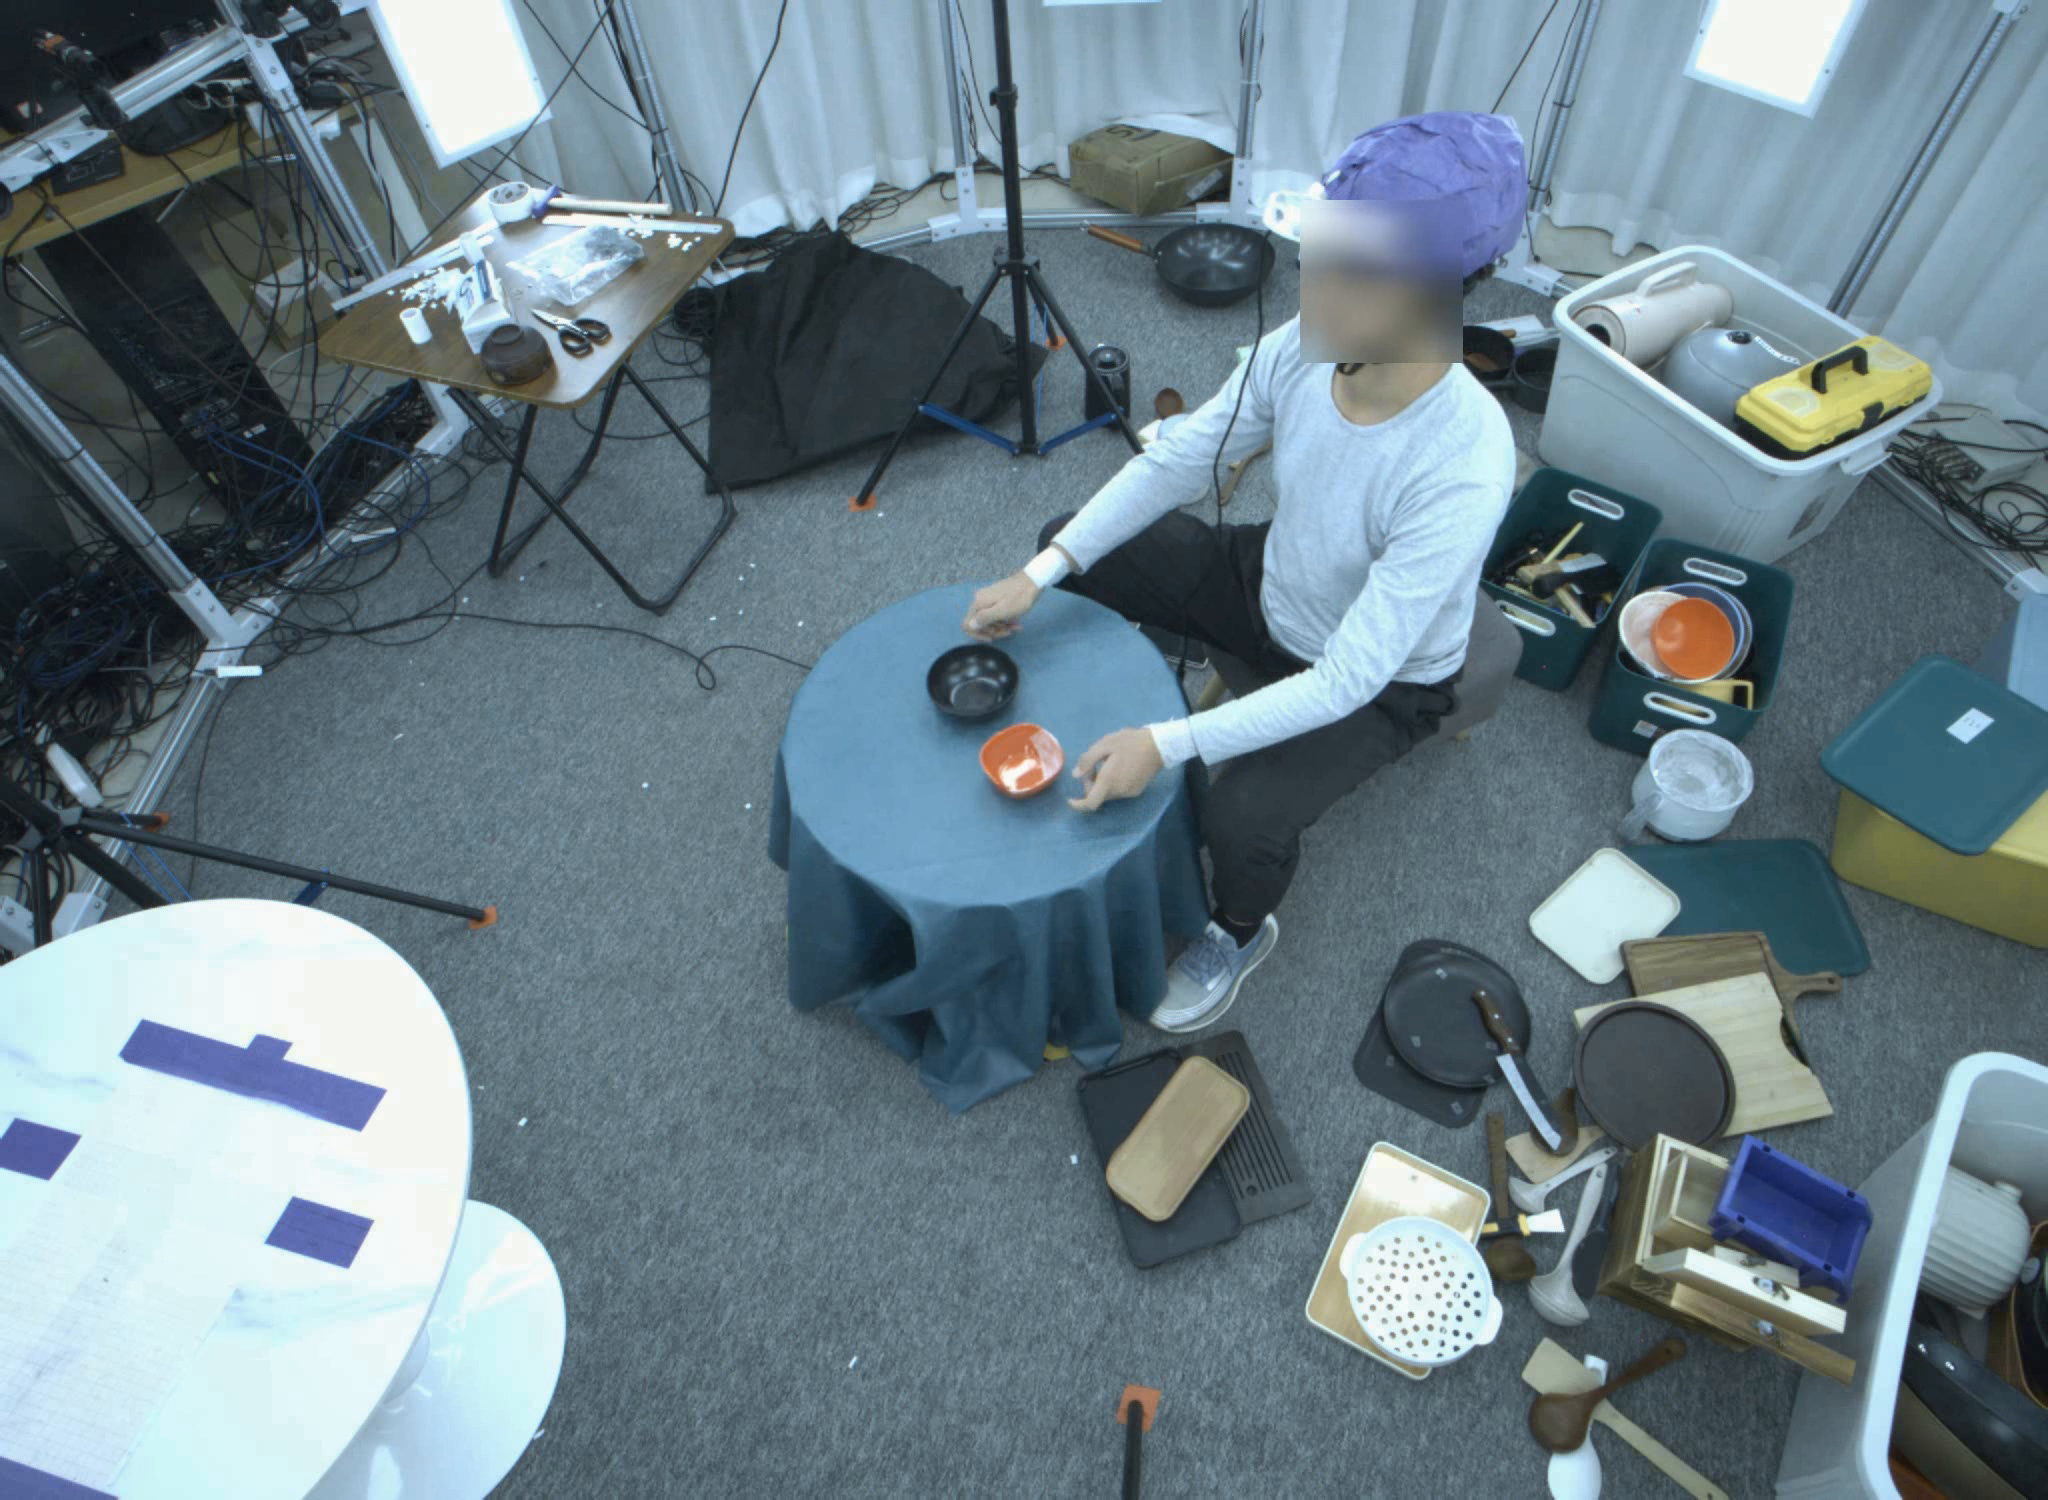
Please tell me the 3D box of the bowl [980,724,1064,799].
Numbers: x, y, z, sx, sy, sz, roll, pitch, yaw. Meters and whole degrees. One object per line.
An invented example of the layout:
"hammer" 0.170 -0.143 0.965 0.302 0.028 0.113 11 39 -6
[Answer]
"bowl" -0.001 0.024 1.744 0.118 0.052 0.117 -2 54 3

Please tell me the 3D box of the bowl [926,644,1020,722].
"bowl" -0.075 -0.091 1.834 0.140 0.050 0.138 1 54 -1
